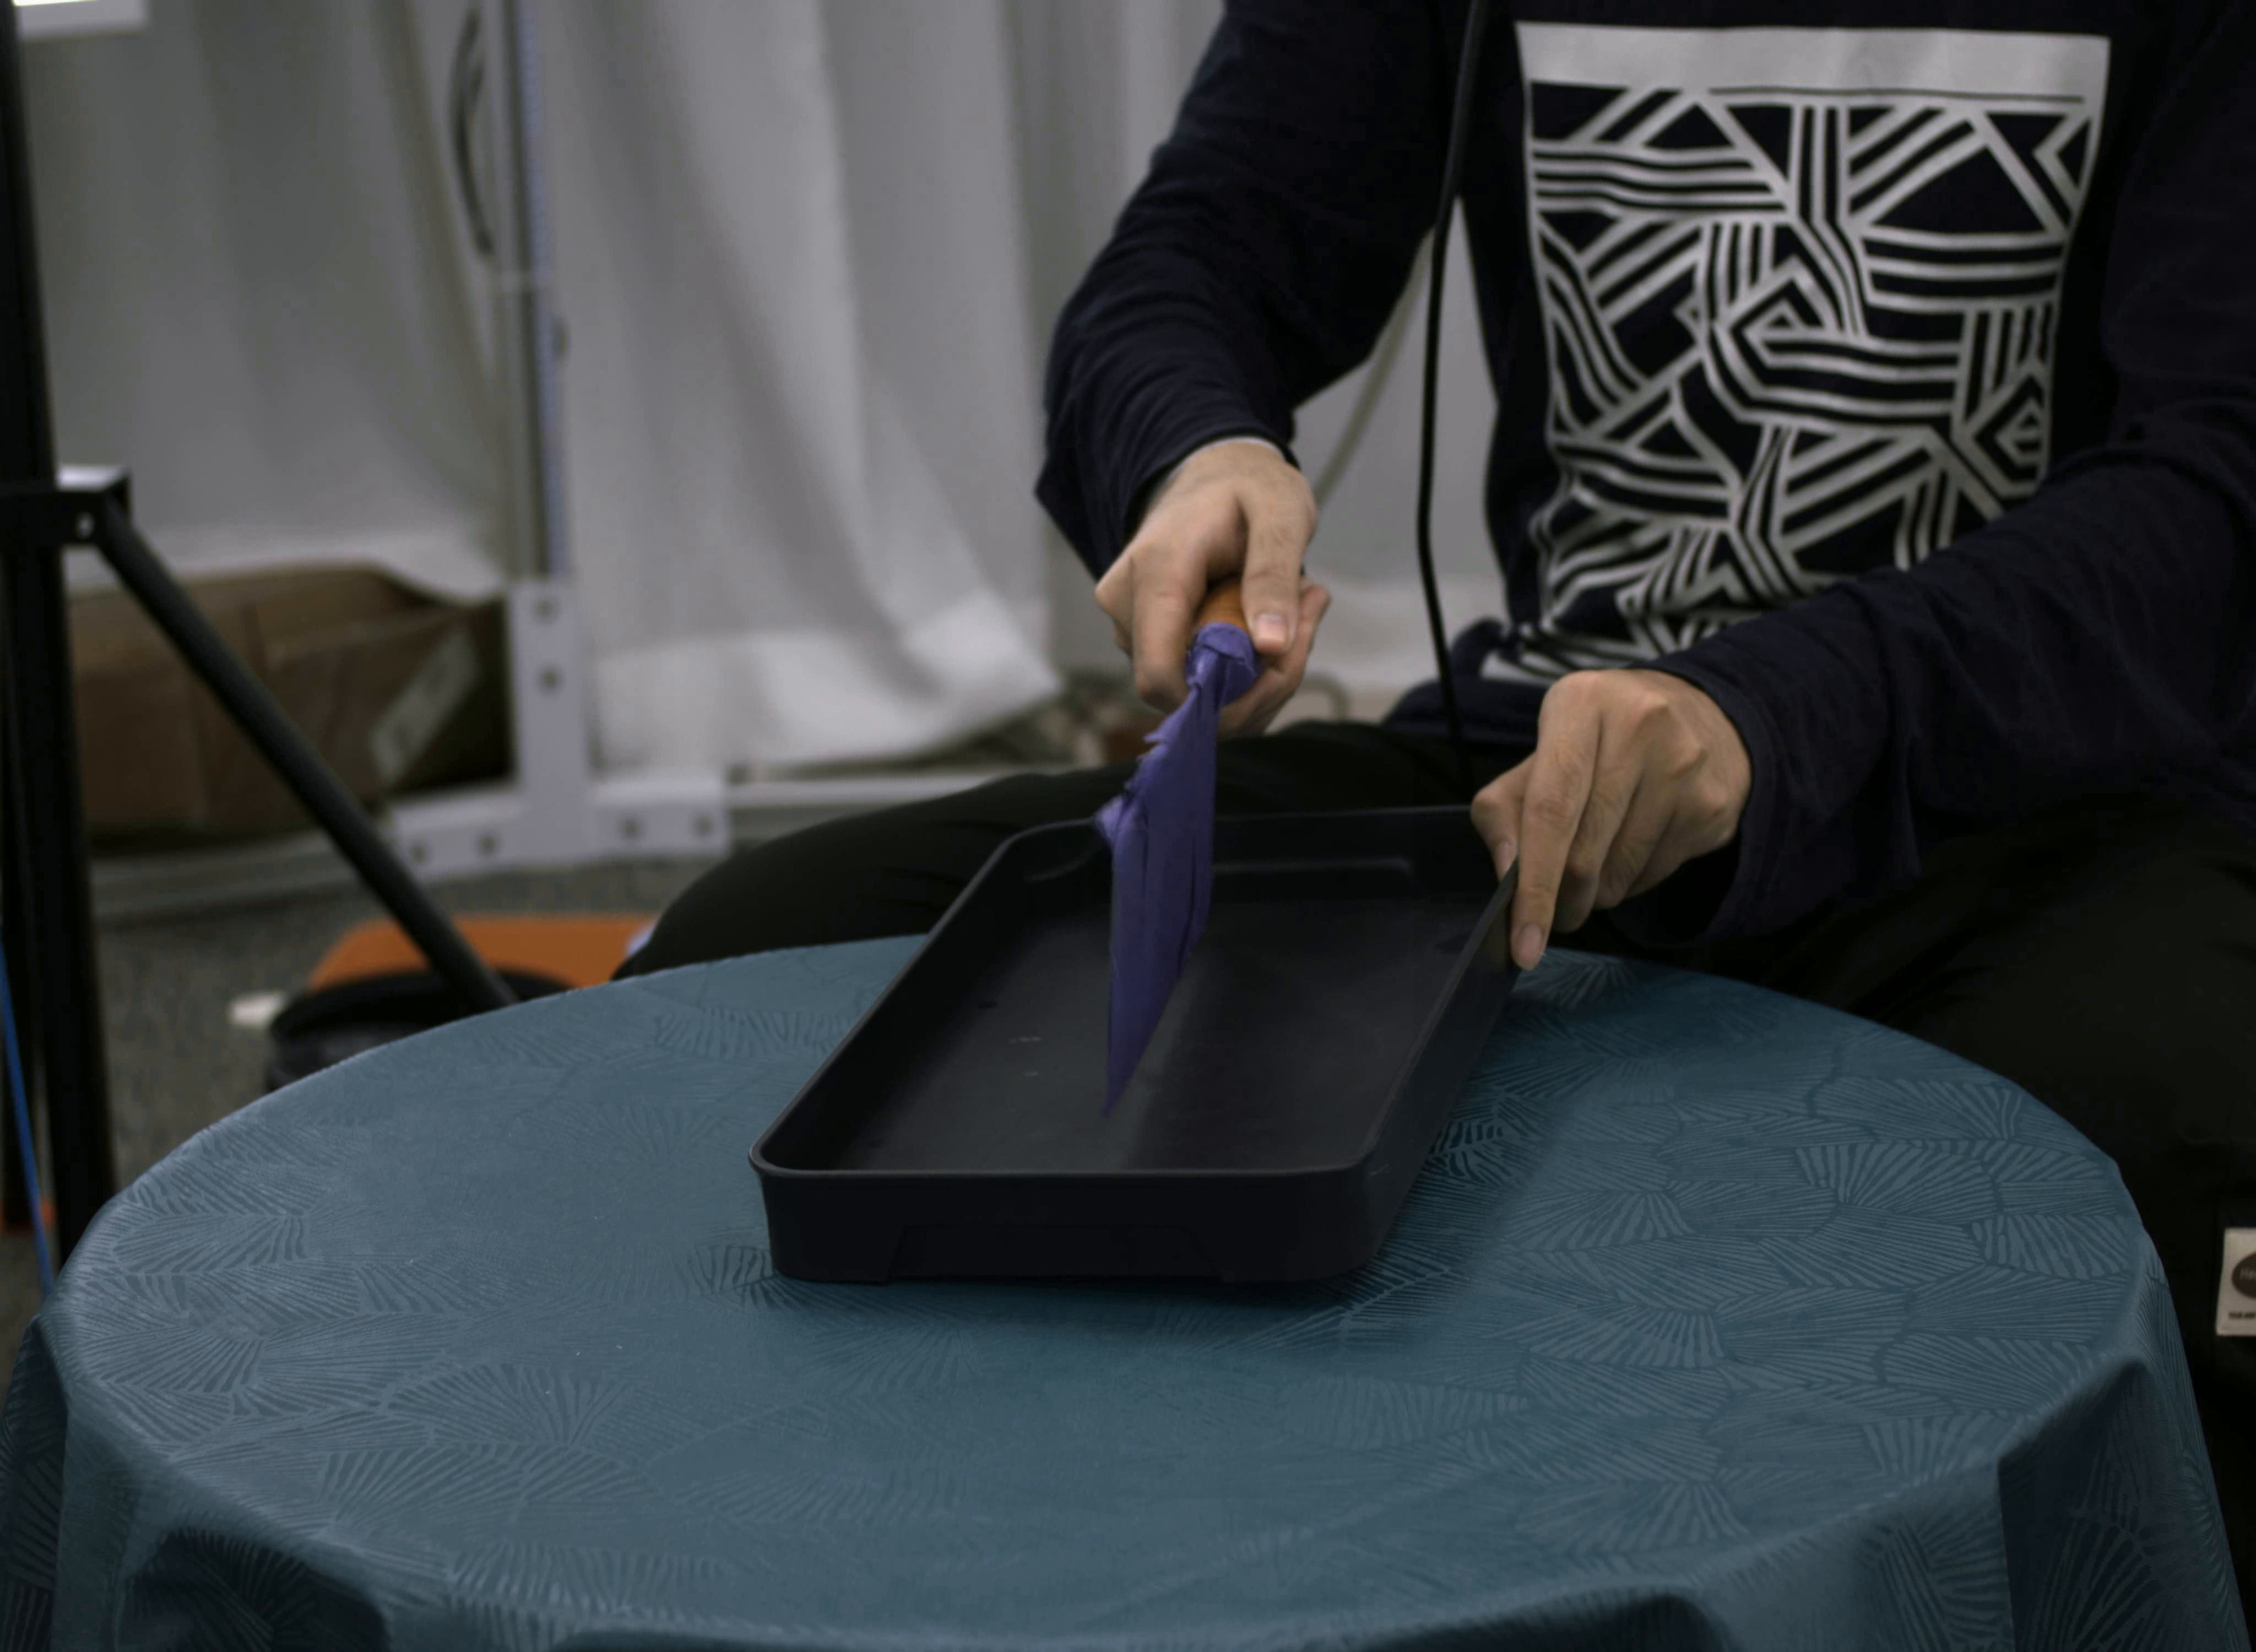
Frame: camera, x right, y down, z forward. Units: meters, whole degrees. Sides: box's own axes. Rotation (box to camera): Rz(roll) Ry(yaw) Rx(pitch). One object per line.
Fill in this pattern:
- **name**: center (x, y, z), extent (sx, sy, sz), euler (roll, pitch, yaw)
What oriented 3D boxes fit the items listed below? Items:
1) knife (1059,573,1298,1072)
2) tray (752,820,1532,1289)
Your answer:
- **knife**: center (0.014, -0.004, 1.674), extent (0.032, 0.104, 0.313), euler (6, 16, 10)
- **tray**: center (0.014, 0.065, 1.611), extent (0.185, 0.037, 0.316), euler (-3, 16, 15)
